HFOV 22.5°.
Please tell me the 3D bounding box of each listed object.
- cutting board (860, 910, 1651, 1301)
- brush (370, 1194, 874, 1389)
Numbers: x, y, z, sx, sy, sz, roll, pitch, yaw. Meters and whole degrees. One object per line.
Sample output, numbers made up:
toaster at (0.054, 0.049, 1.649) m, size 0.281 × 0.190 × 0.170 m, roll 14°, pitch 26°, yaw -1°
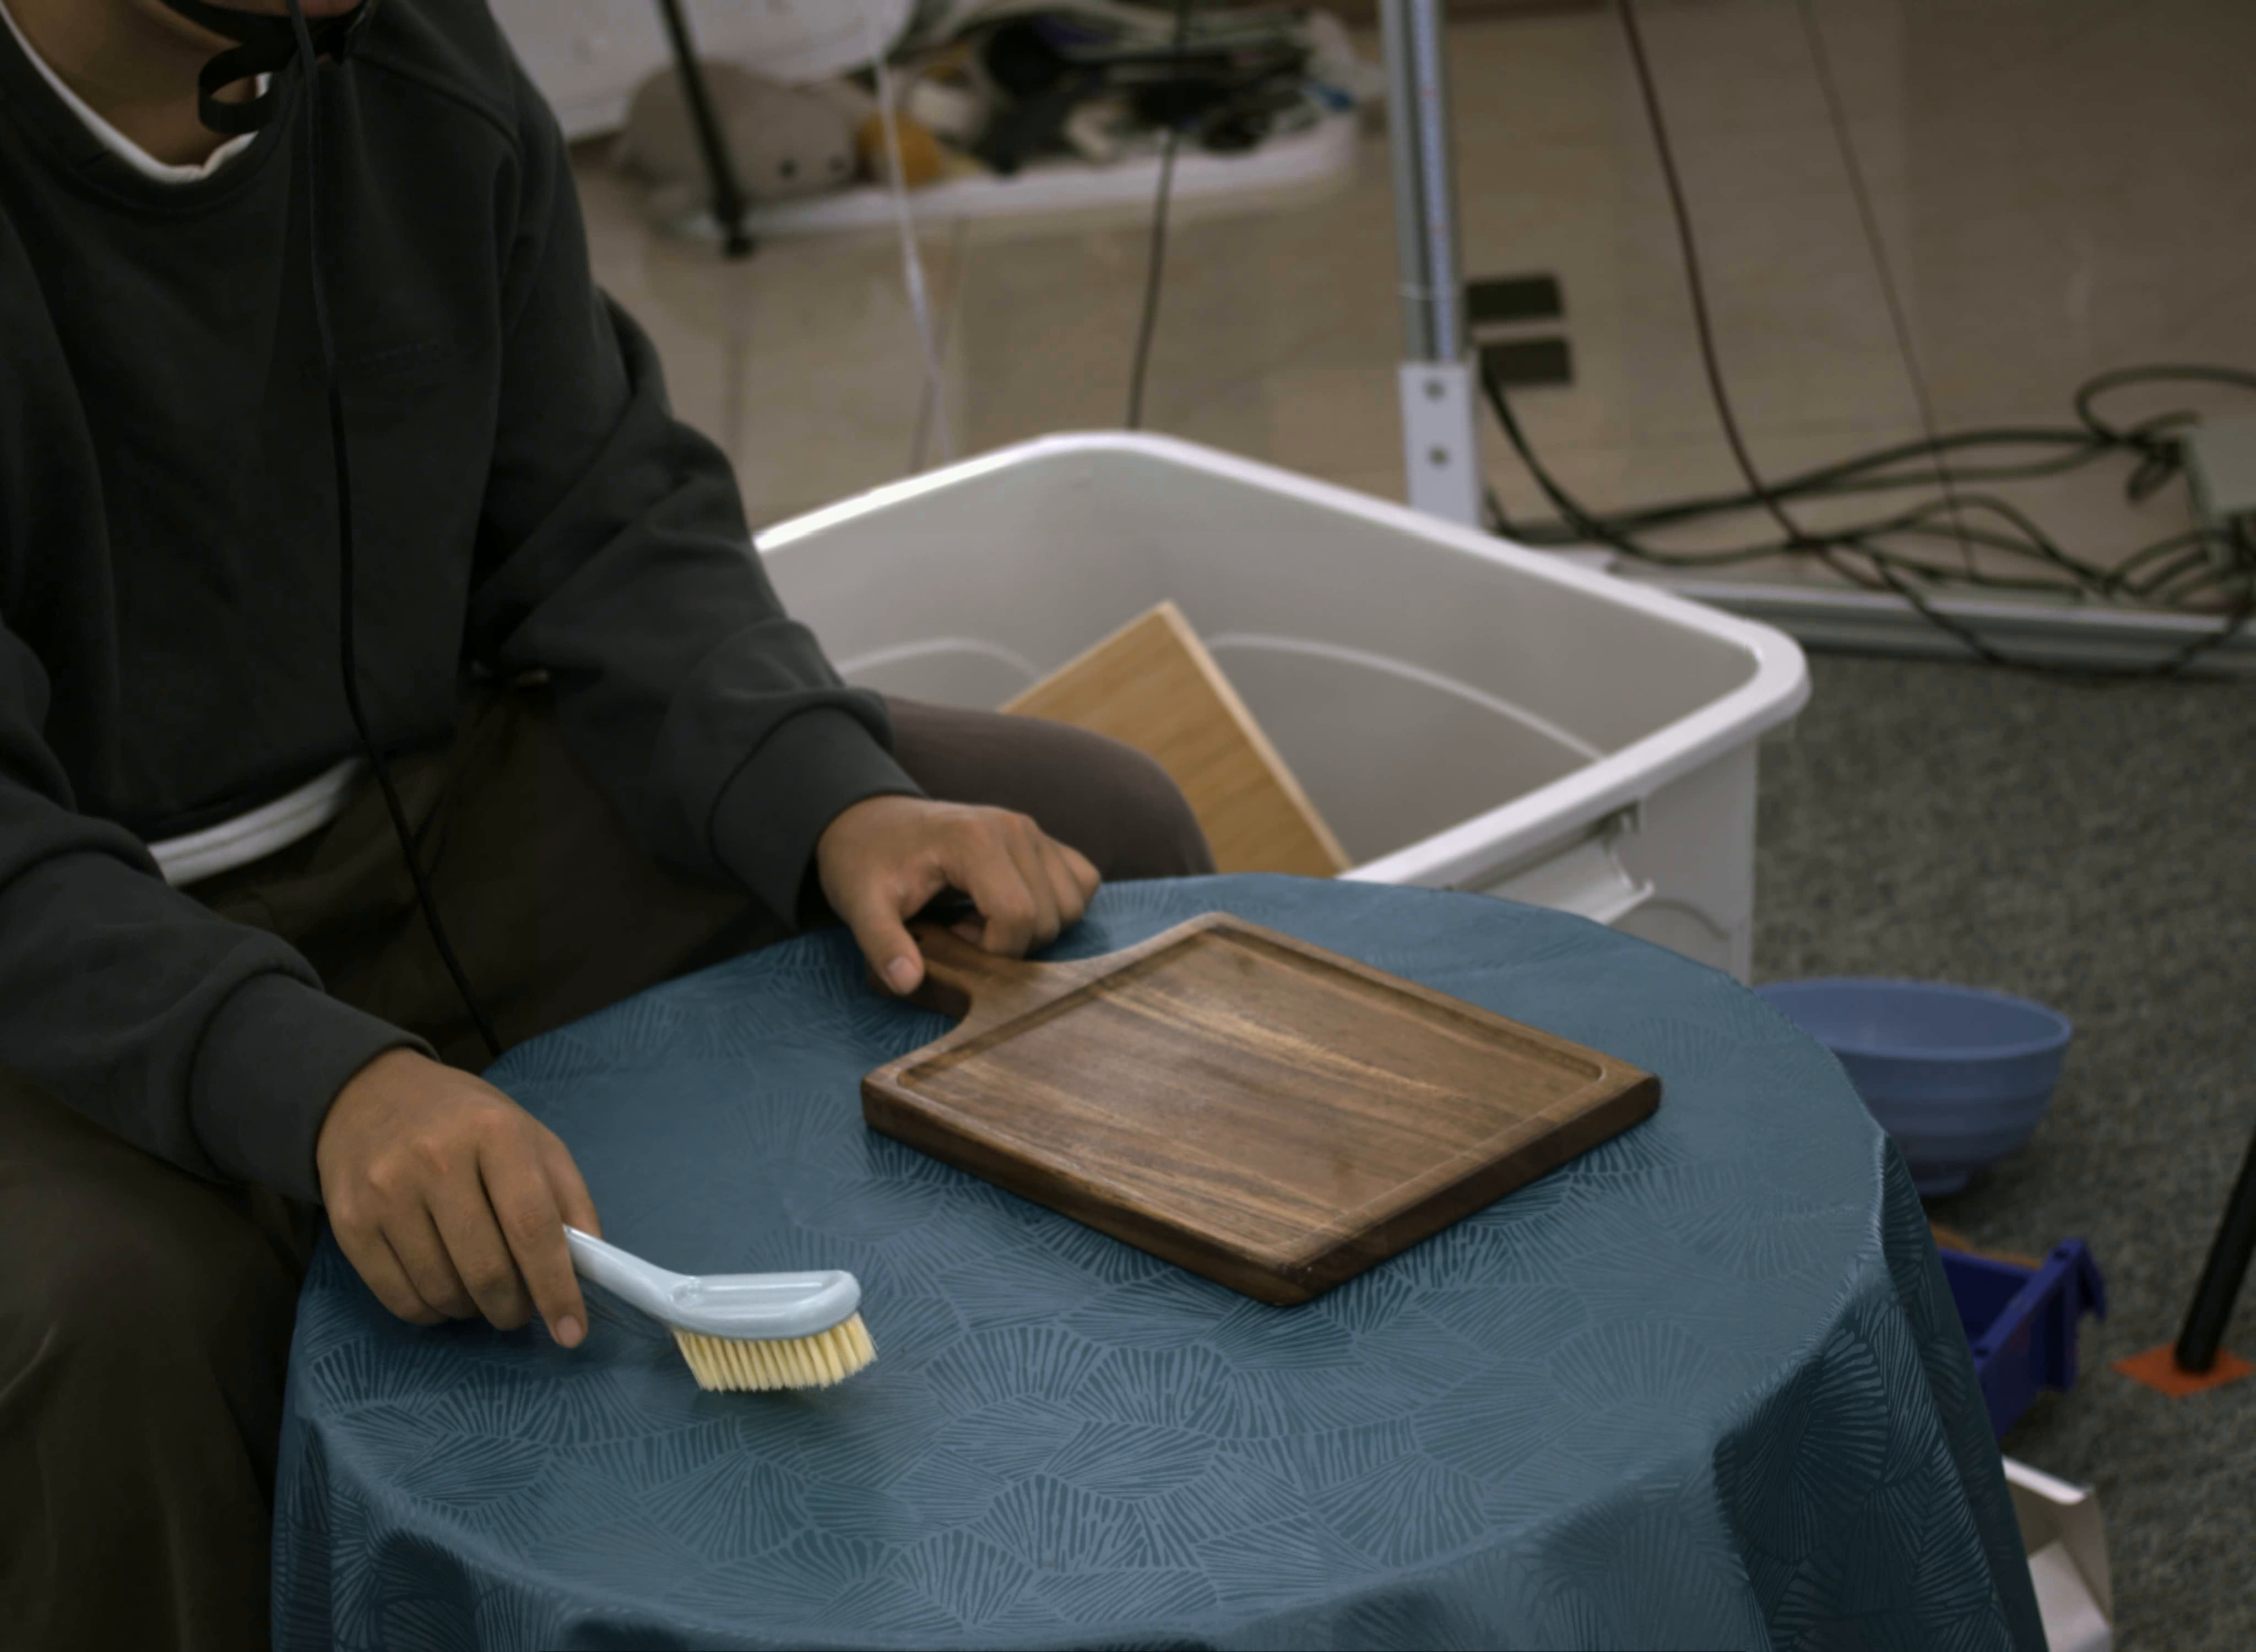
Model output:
cutting board at (0.015, 0.091, 2.224) m, size 0.199 × 0.023 × 0.349 m, roll -25°, pitch 30°, yaw -35°
brush at (-0.188, 0.170, 2.072) m, size 0.227 × 0.050 × 0.037 m, roll 9°, pitch 29°, yaw 33°
